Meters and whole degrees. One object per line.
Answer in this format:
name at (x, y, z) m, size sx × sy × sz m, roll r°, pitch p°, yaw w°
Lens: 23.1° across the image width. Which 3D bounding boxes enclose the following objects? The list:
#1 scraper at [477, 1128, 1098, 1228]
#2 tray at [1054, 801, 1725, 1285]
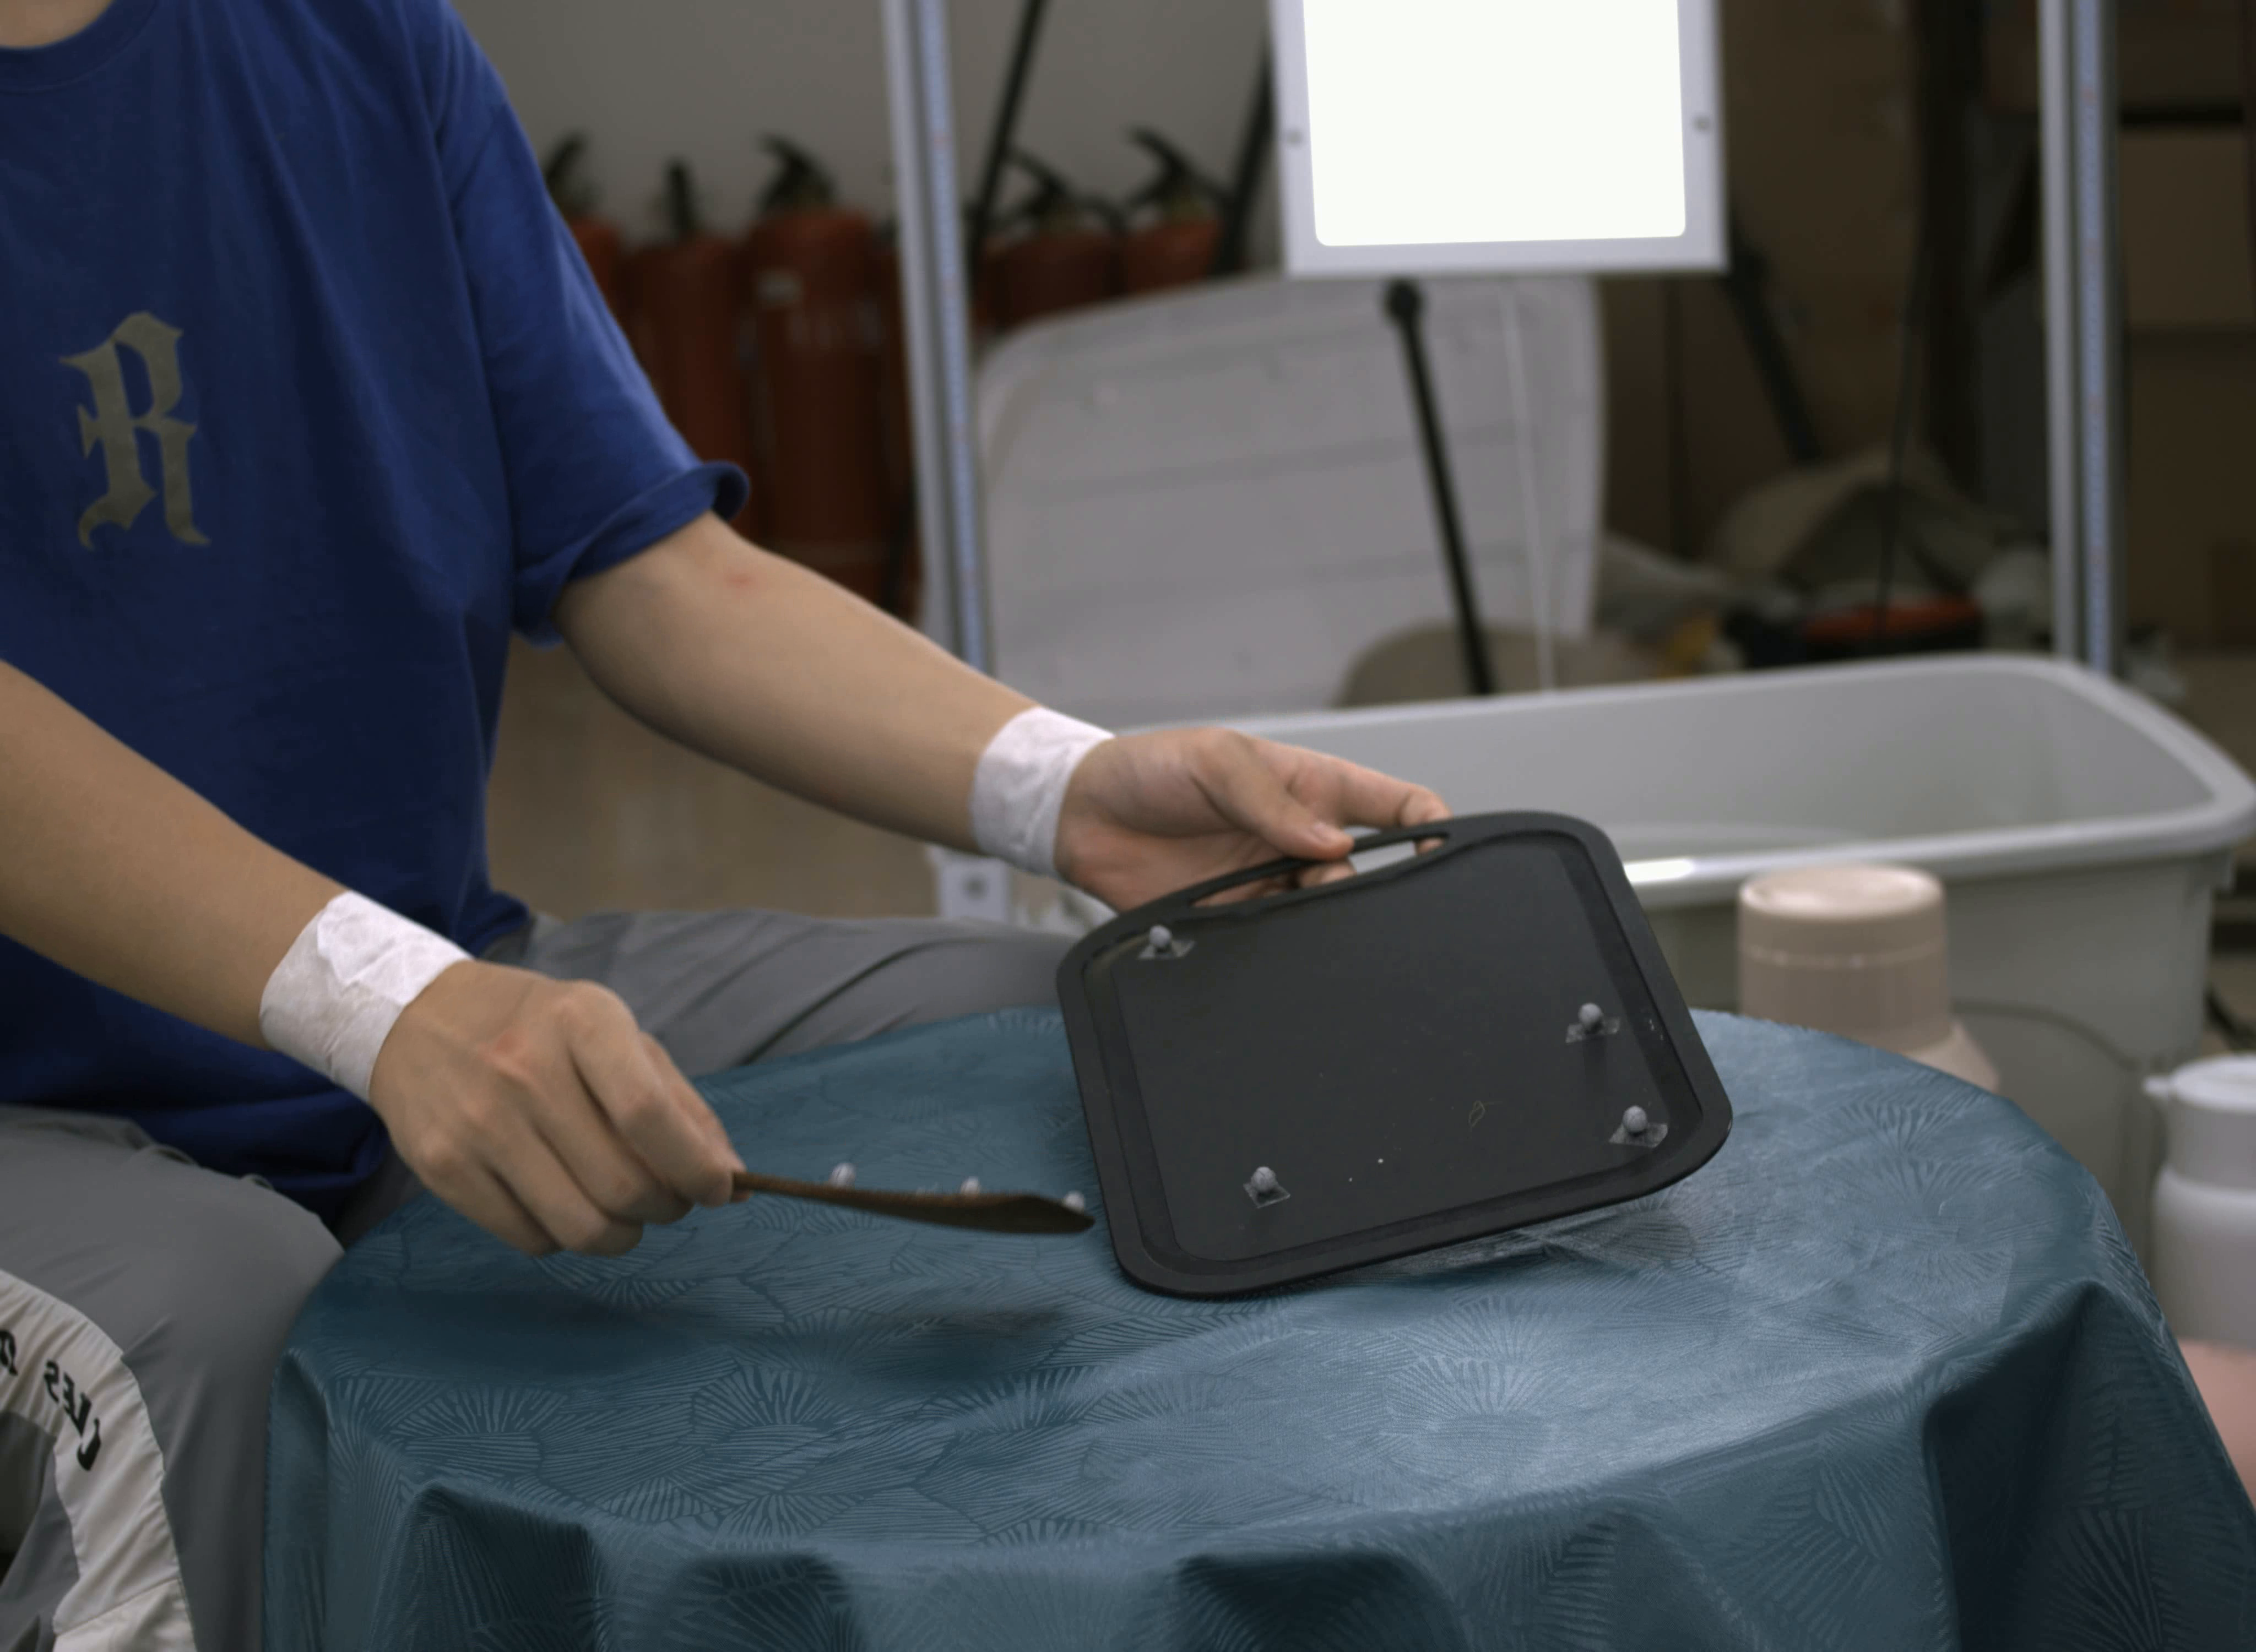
scraper at (-0.114, 0.113, 1.788) m, size 0.214 × 0.011 × 0.075 m, roll 6°, pitch -10°, yaw 23°
tray at (0.083, 0.066, 1.917) m, size 0.211 × 0.010 × 0.325 m, roll -15°, pitch 24°, yaw 1°
